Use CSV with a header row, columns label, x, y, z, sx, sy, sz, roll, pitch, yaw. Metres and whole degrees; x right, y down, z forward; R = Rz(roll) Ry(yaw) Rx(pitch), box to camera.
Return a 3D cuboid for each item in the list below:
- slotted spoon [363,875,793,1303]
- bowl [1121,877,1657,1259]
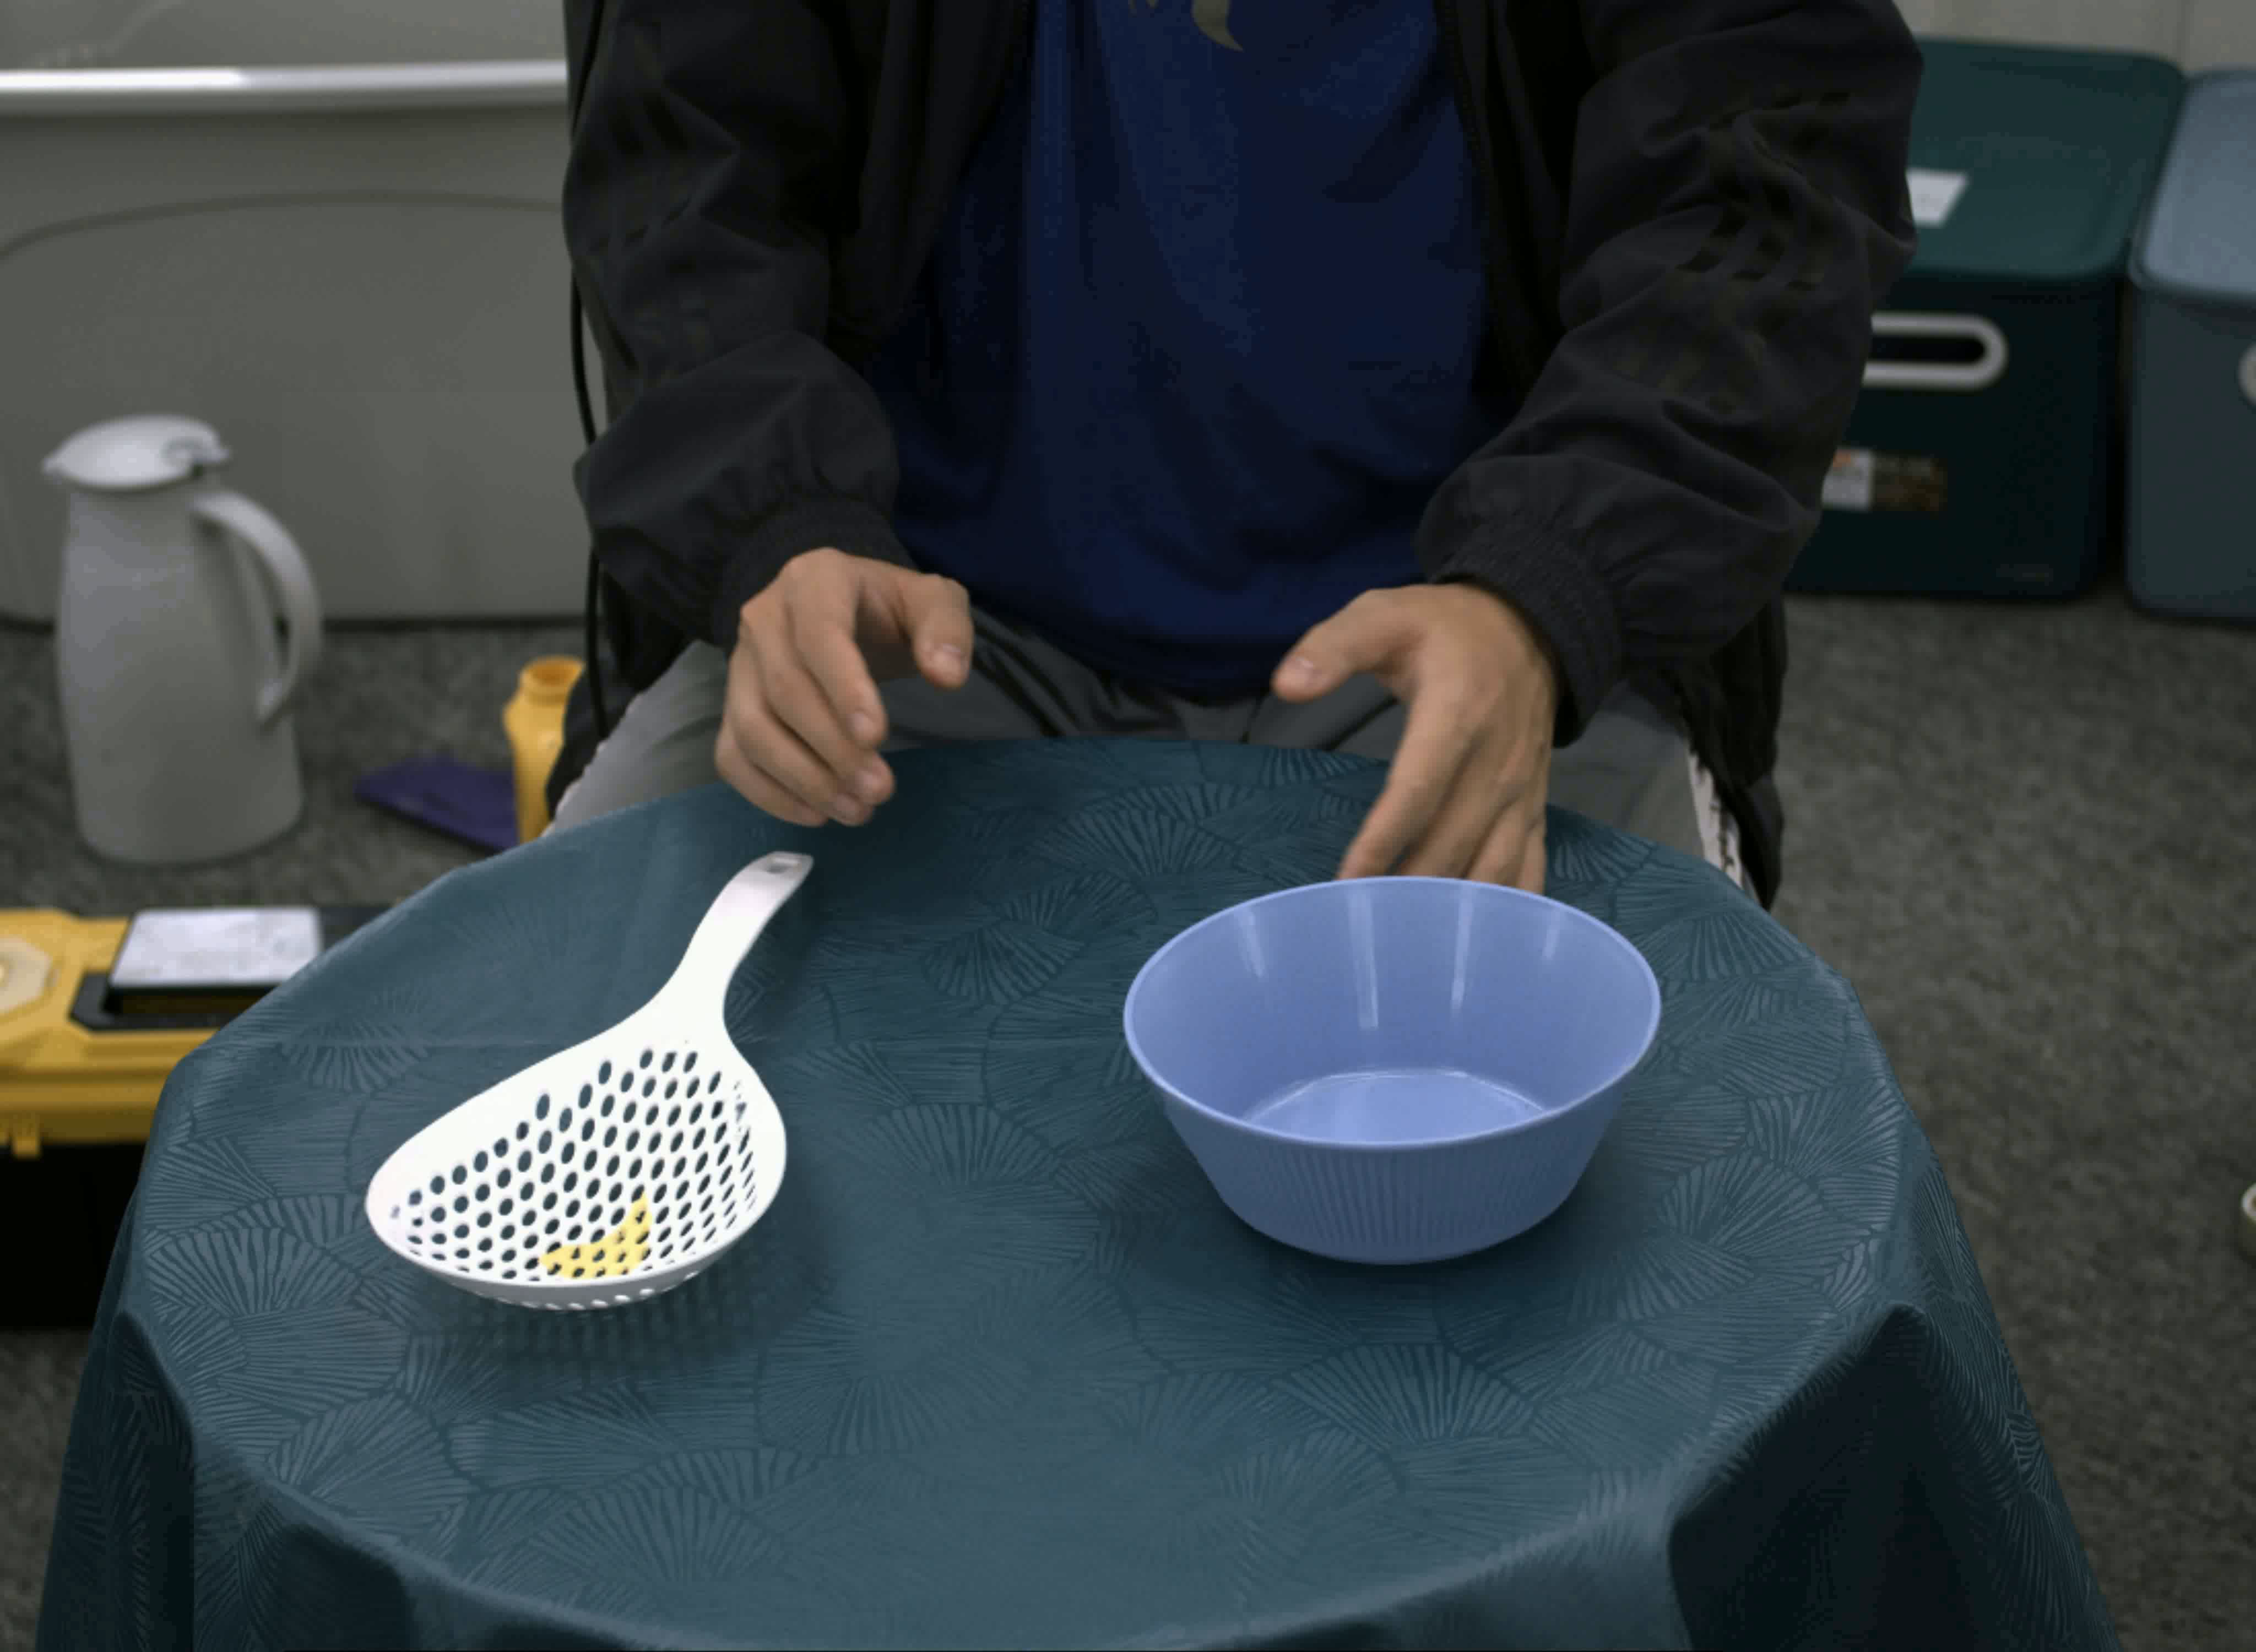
label,x,y,z,sx,sy,sz,roll,pitch,yaw
slotted spoon,-0.156,0.078,1.916,0.136,0.050,0.354,-1,27,11
bowl,0.086,0.085,1.847,0.175,0.069,0.179,-2,27,1
